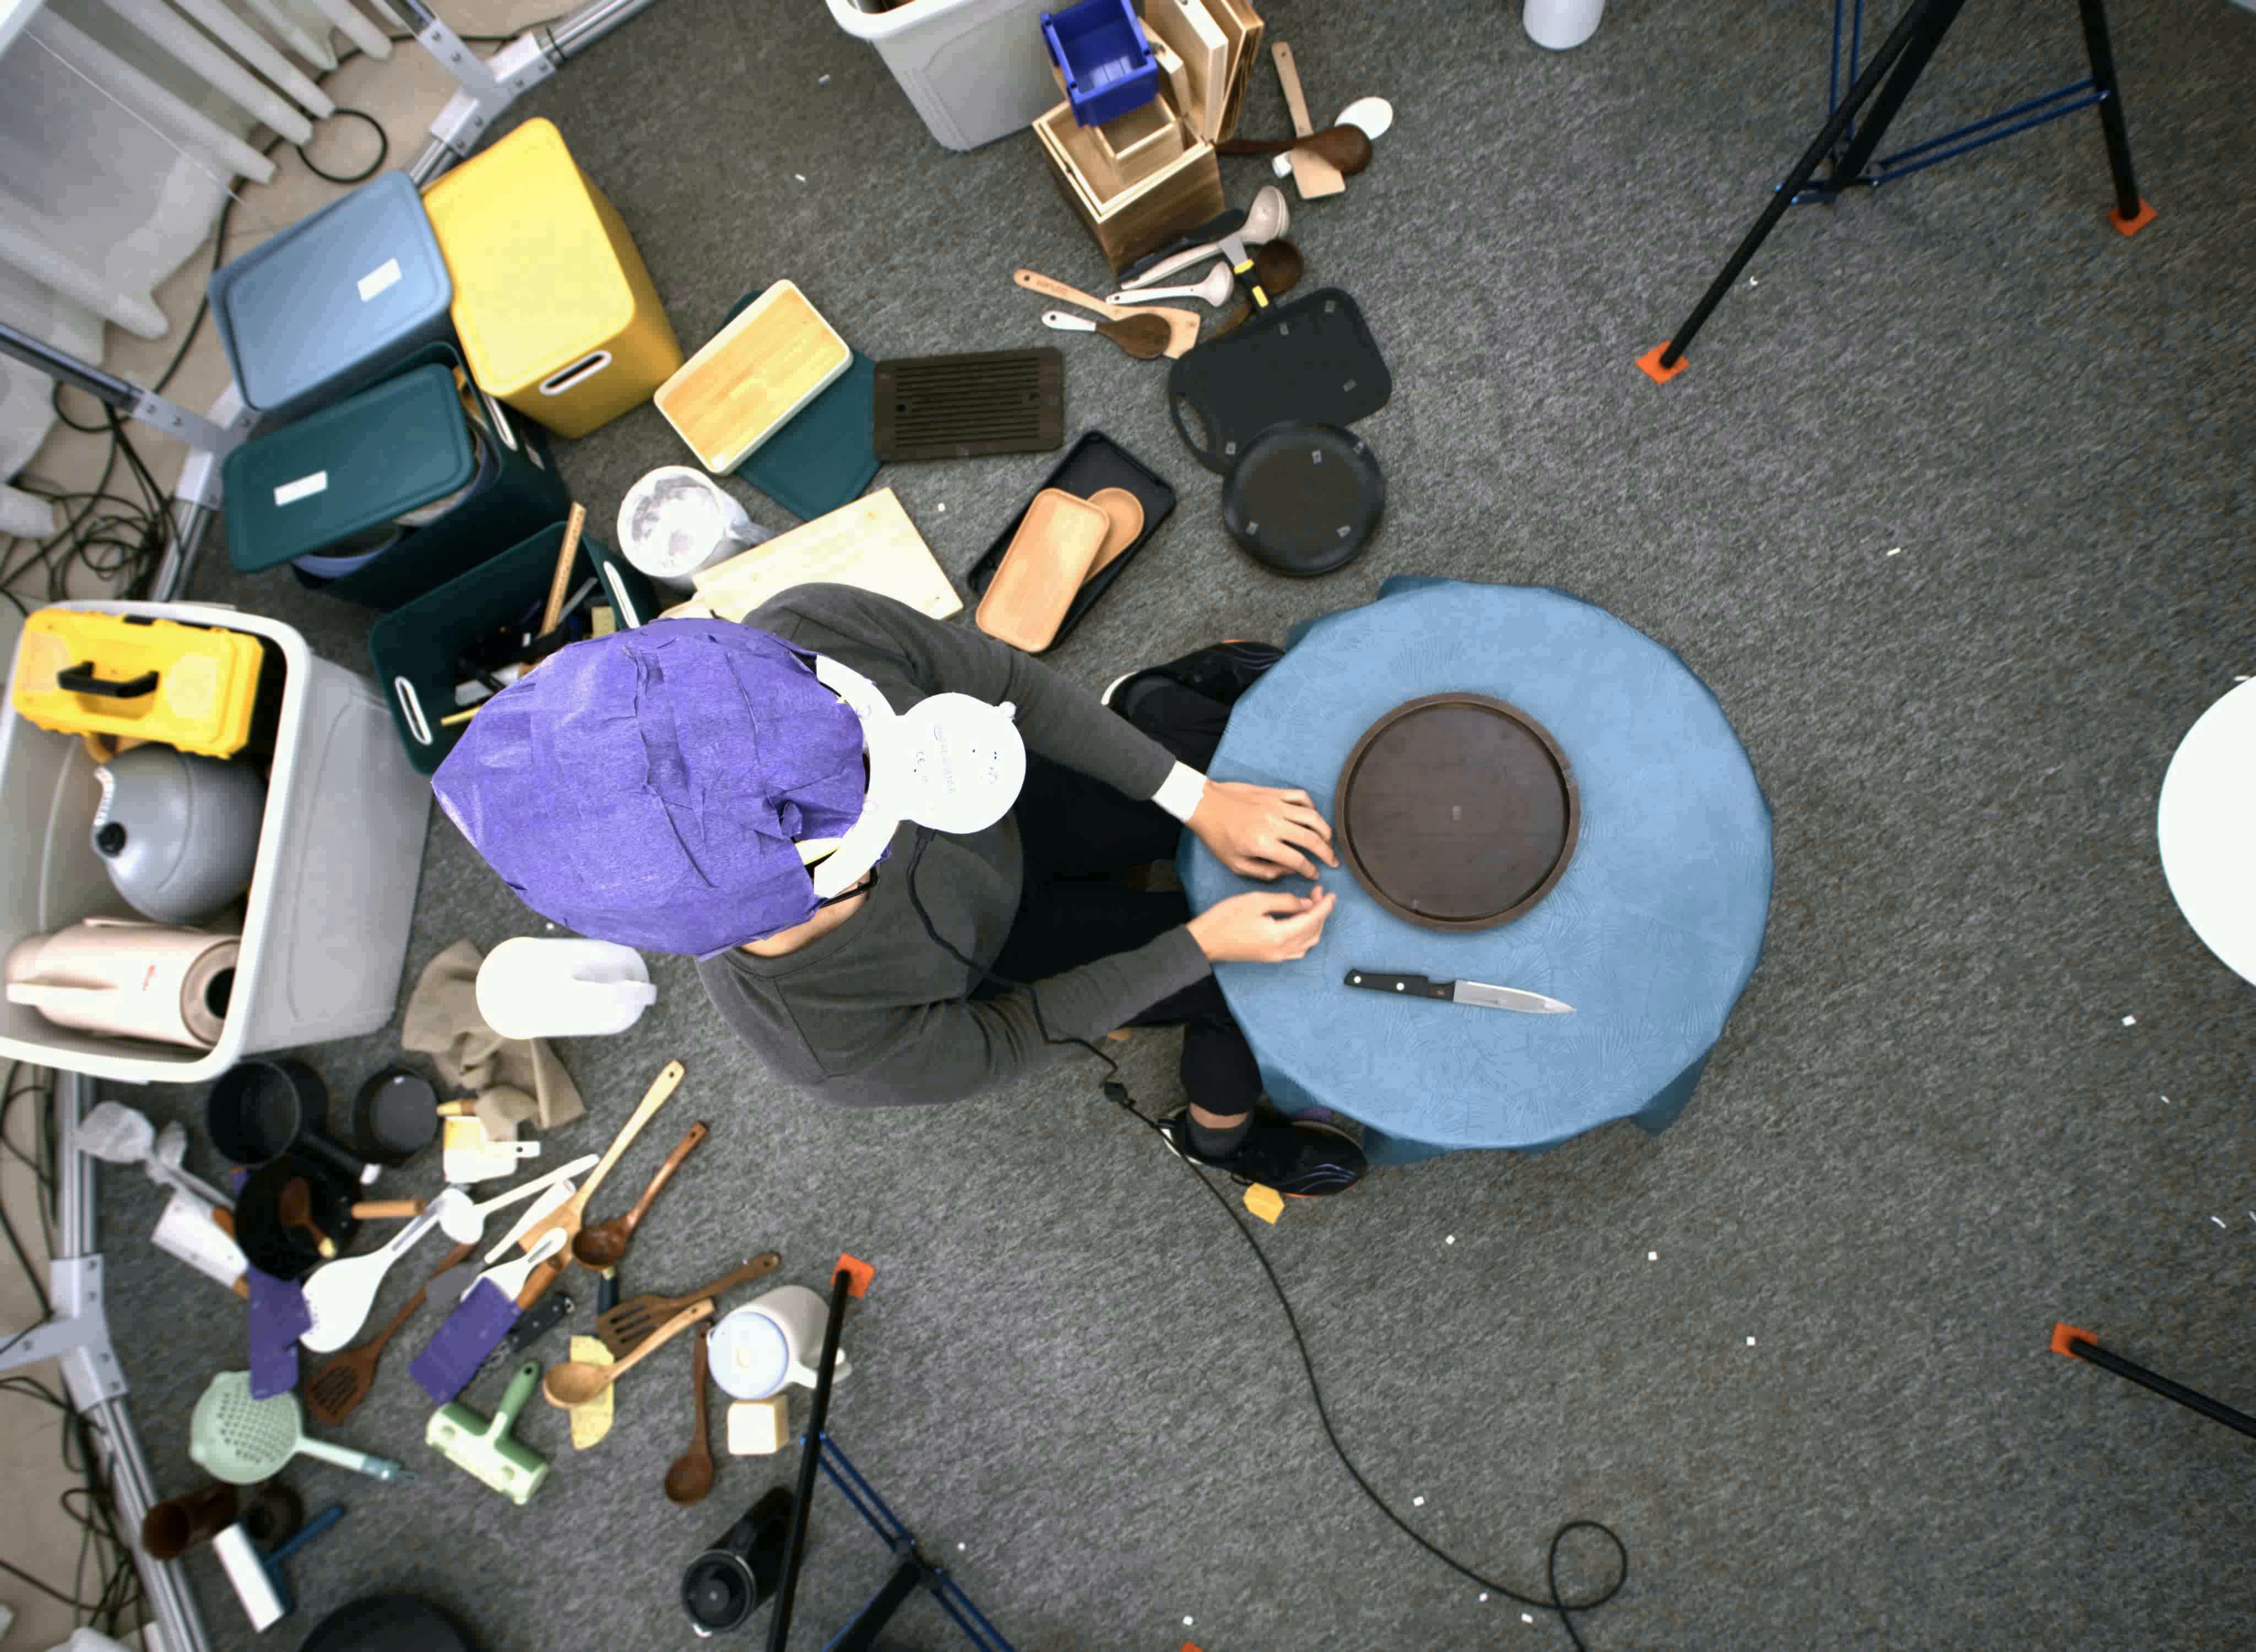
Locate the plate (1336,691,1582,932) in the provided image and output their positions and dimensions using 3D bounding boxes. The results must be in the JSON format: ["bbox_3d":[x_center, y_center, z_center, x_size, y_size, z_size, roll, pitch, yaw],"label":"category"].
[{"bbox_3d":[0.344,-0.017,1.440,0.256,0.029,0.253,-1,86,10],"label":"plate"}]

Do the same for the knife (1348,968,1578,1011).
[{"bbox_3d":[0.347,0.172,1.435,0.239,0.016,0.024,7,84,8],"label":"knife"}]
